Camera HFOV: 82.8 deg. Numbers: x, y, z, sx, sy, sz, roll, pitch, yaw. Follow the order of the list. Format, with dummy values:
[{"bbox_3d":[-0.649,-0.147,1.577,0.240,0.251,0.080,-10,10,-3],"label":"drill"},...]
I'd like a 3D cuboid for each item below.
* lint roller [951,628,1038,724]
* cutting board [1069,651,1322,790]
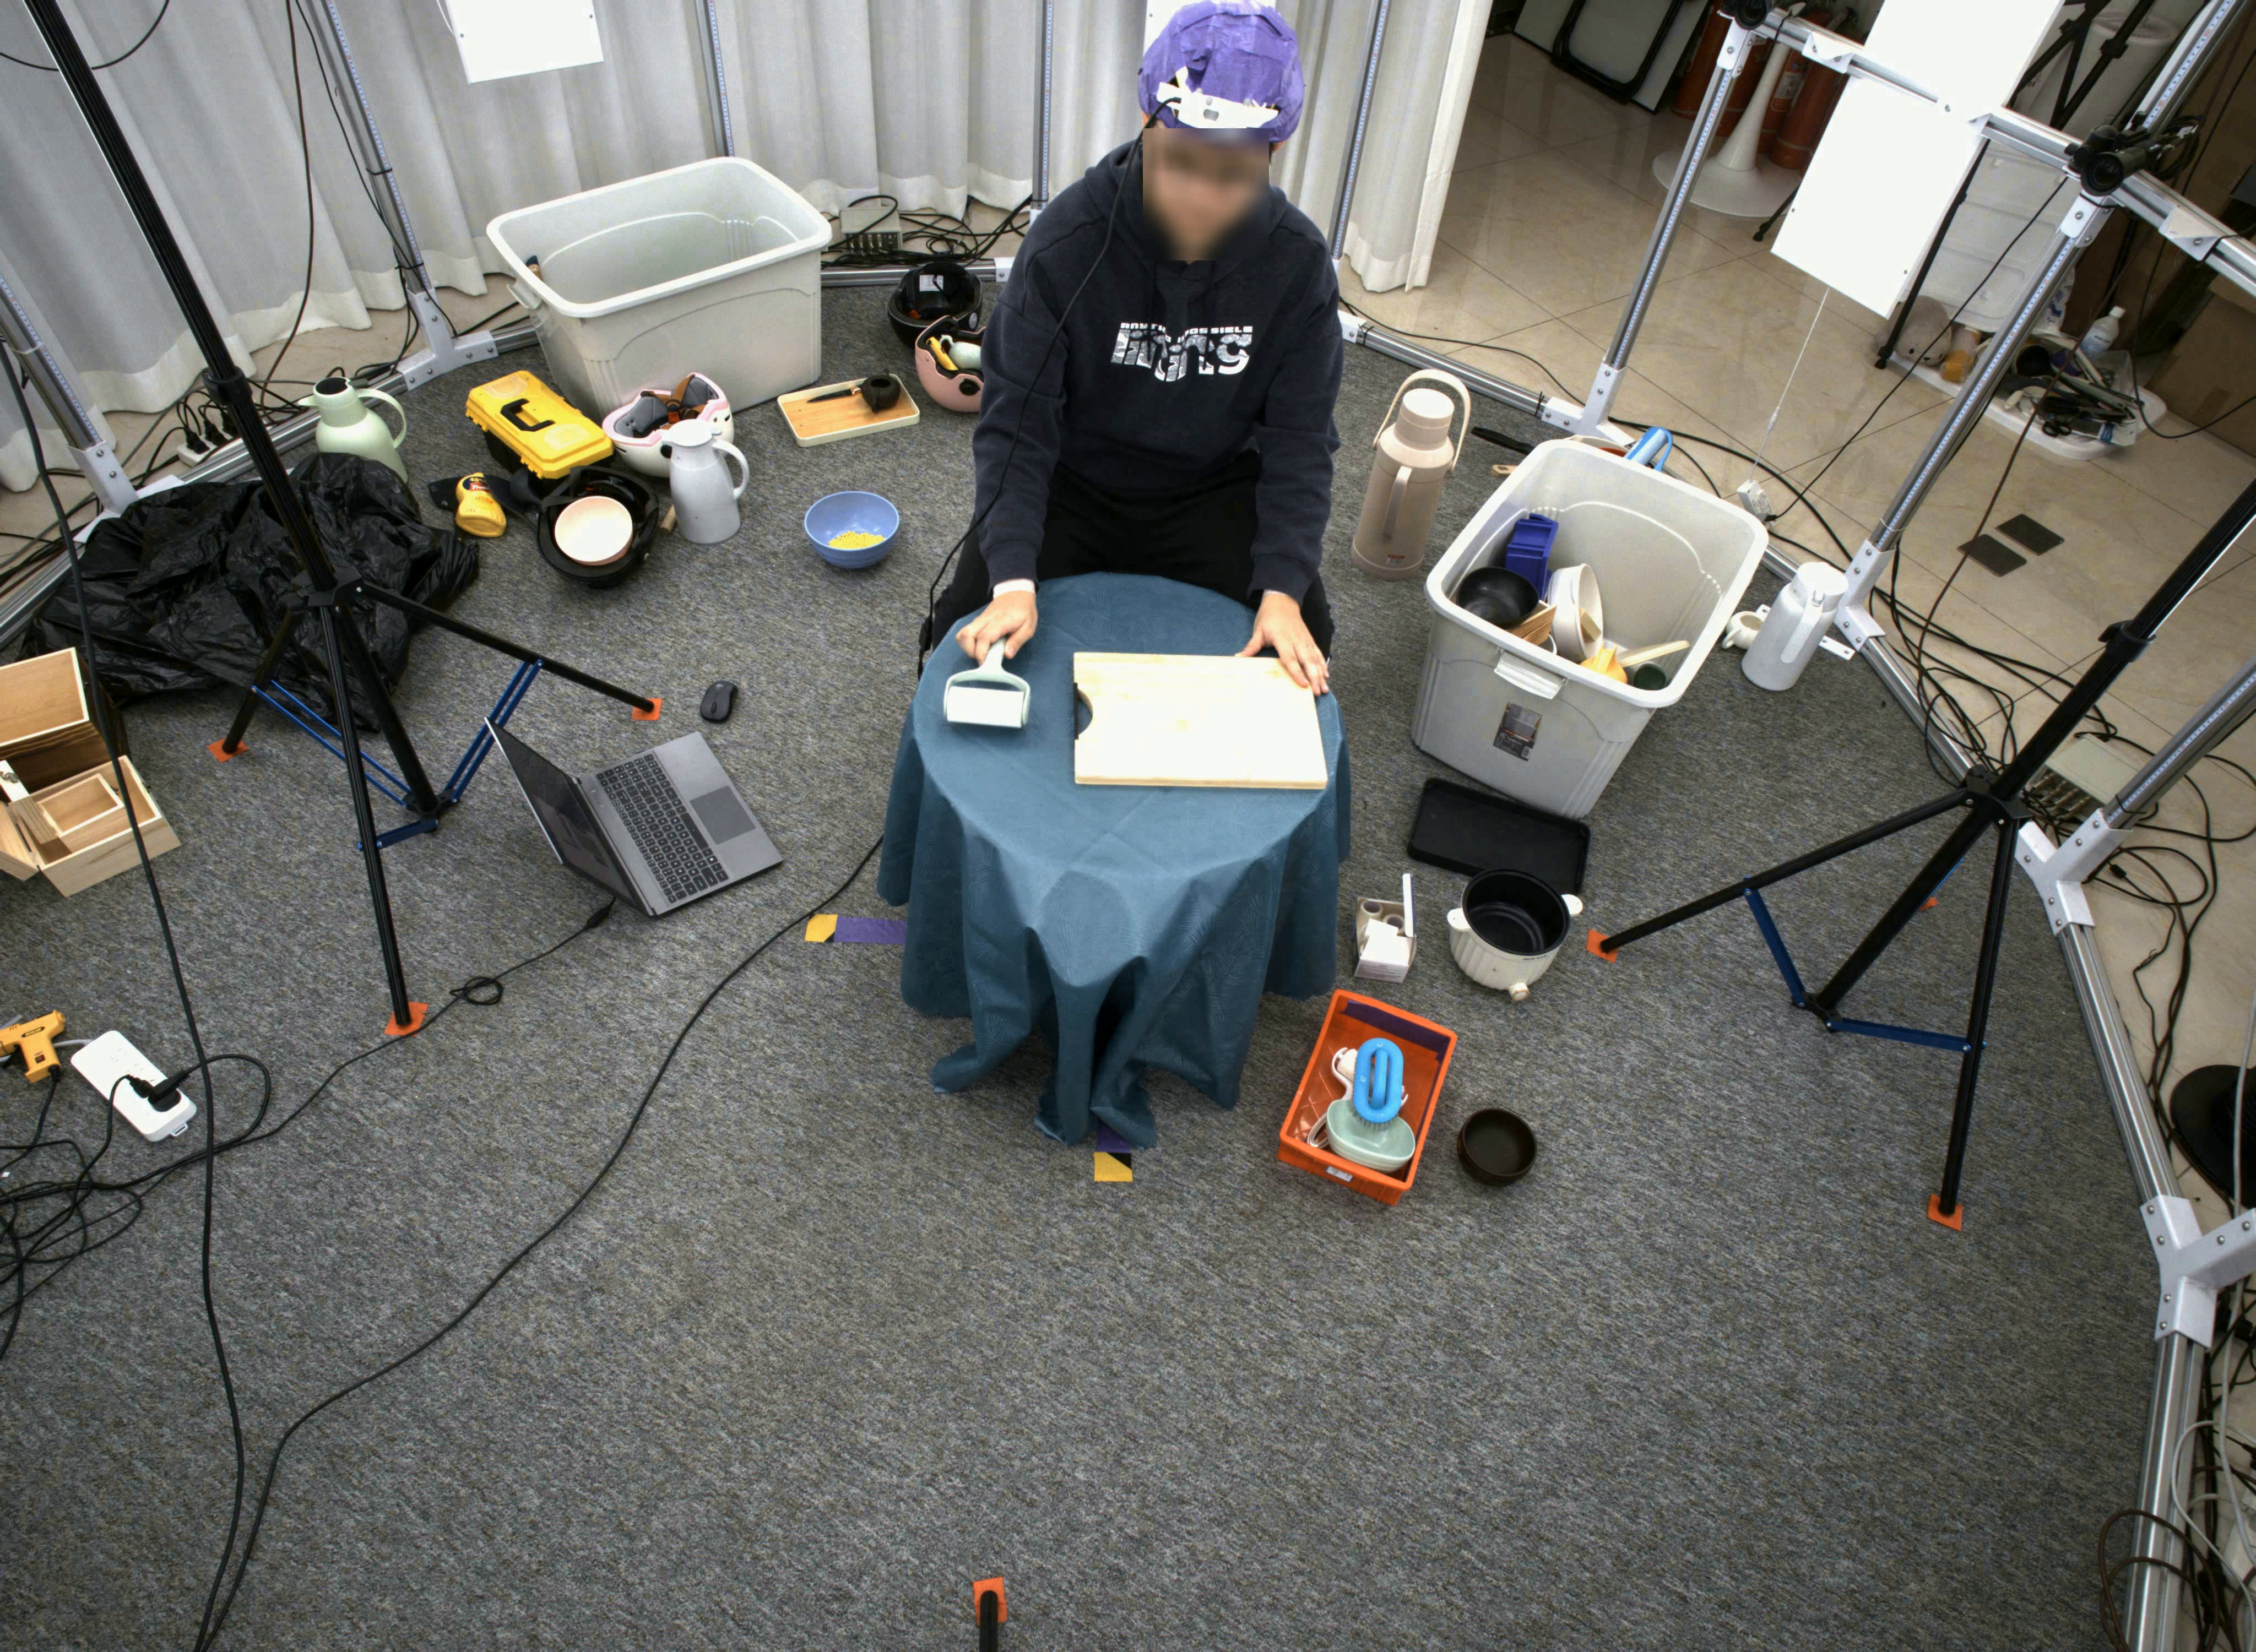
[{"bbox_3d":[-0.178,-0.218,1.789,0.116,0.047,0.202,2,48,3],"label":"lint roller"},{"bbox_3d":[0.090,-0.151,1.793,0.348,0.023,0.257,1,48,-4],"label":"cutting board"}]
